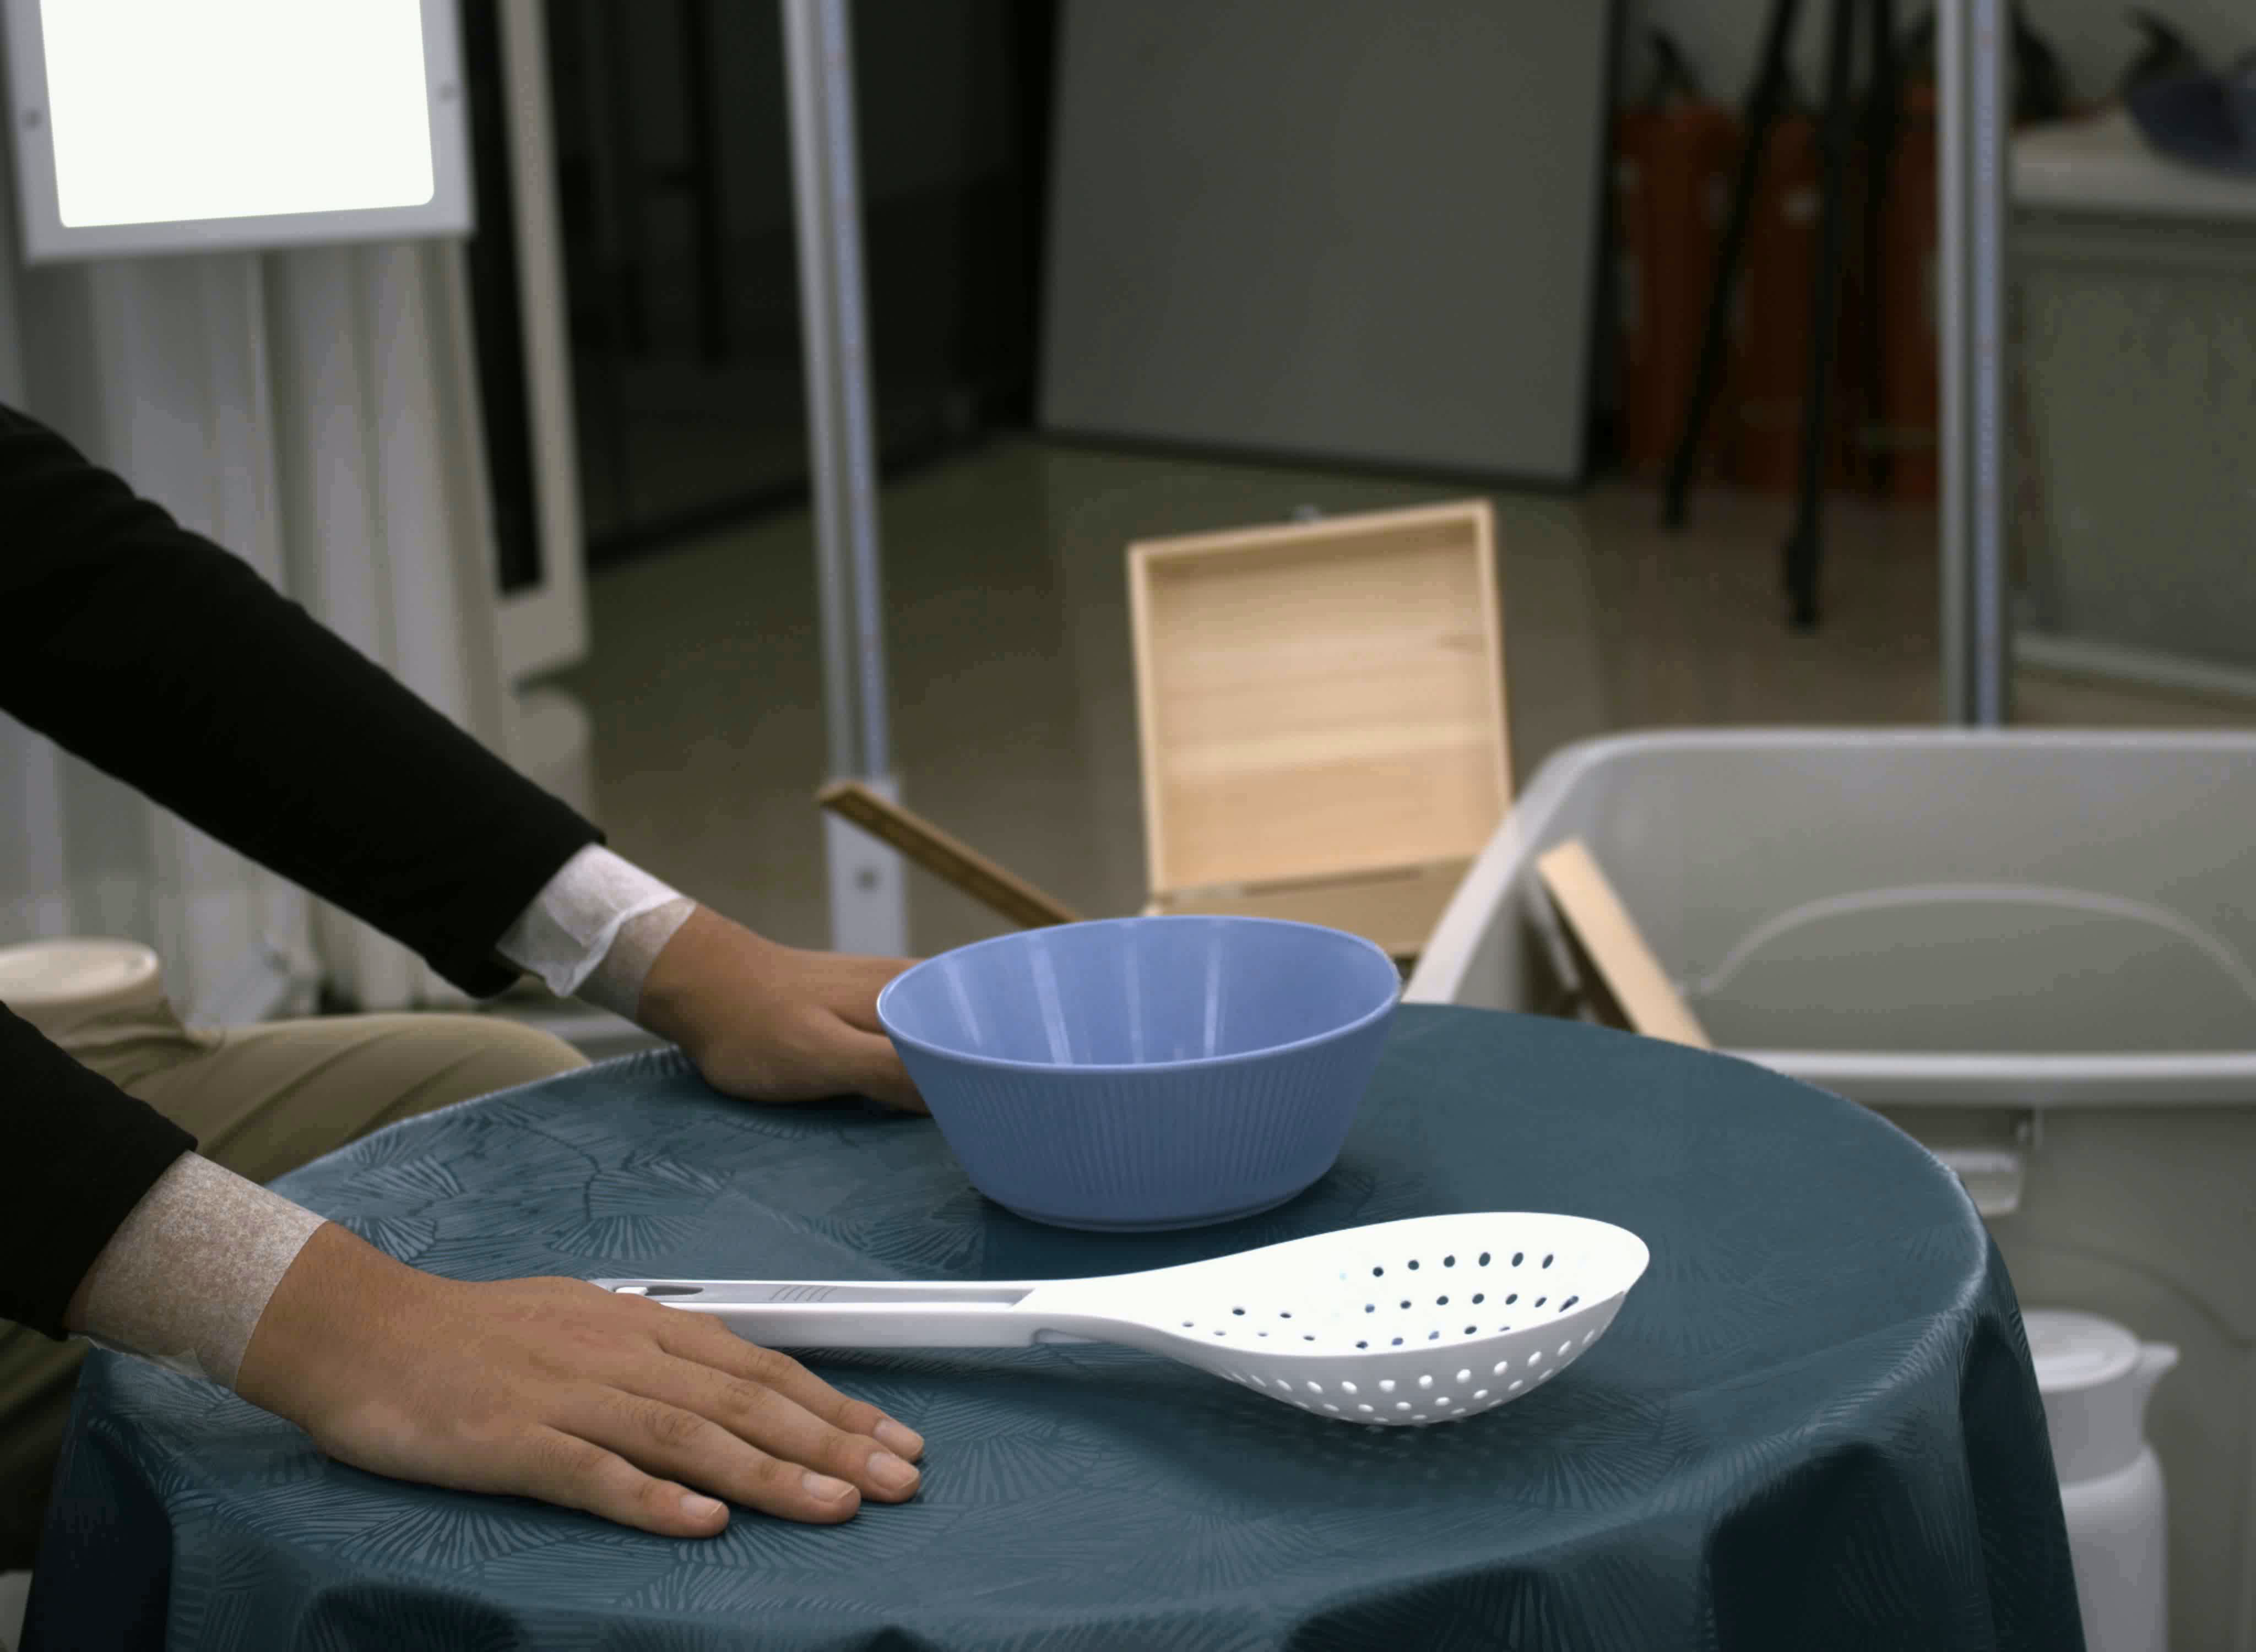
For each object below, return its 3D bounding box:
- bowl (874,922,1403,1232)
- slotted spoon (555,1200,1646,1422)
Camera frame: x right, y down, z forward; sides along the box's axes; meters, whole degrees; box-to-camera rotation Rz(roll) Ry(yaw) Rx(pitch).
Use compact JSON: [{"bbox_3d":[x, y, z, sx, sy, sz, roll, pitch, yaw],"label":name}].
[{"bbox_3d":[0.006,0.084,1.771,0.174,0.071,0.176,-5,13,0],"label":"bowl"},{"bbox_3d":[-0.014,0.143,1.590,0.350,0.046,0.134,1,14,24],"label":"slotted spoon"}]
